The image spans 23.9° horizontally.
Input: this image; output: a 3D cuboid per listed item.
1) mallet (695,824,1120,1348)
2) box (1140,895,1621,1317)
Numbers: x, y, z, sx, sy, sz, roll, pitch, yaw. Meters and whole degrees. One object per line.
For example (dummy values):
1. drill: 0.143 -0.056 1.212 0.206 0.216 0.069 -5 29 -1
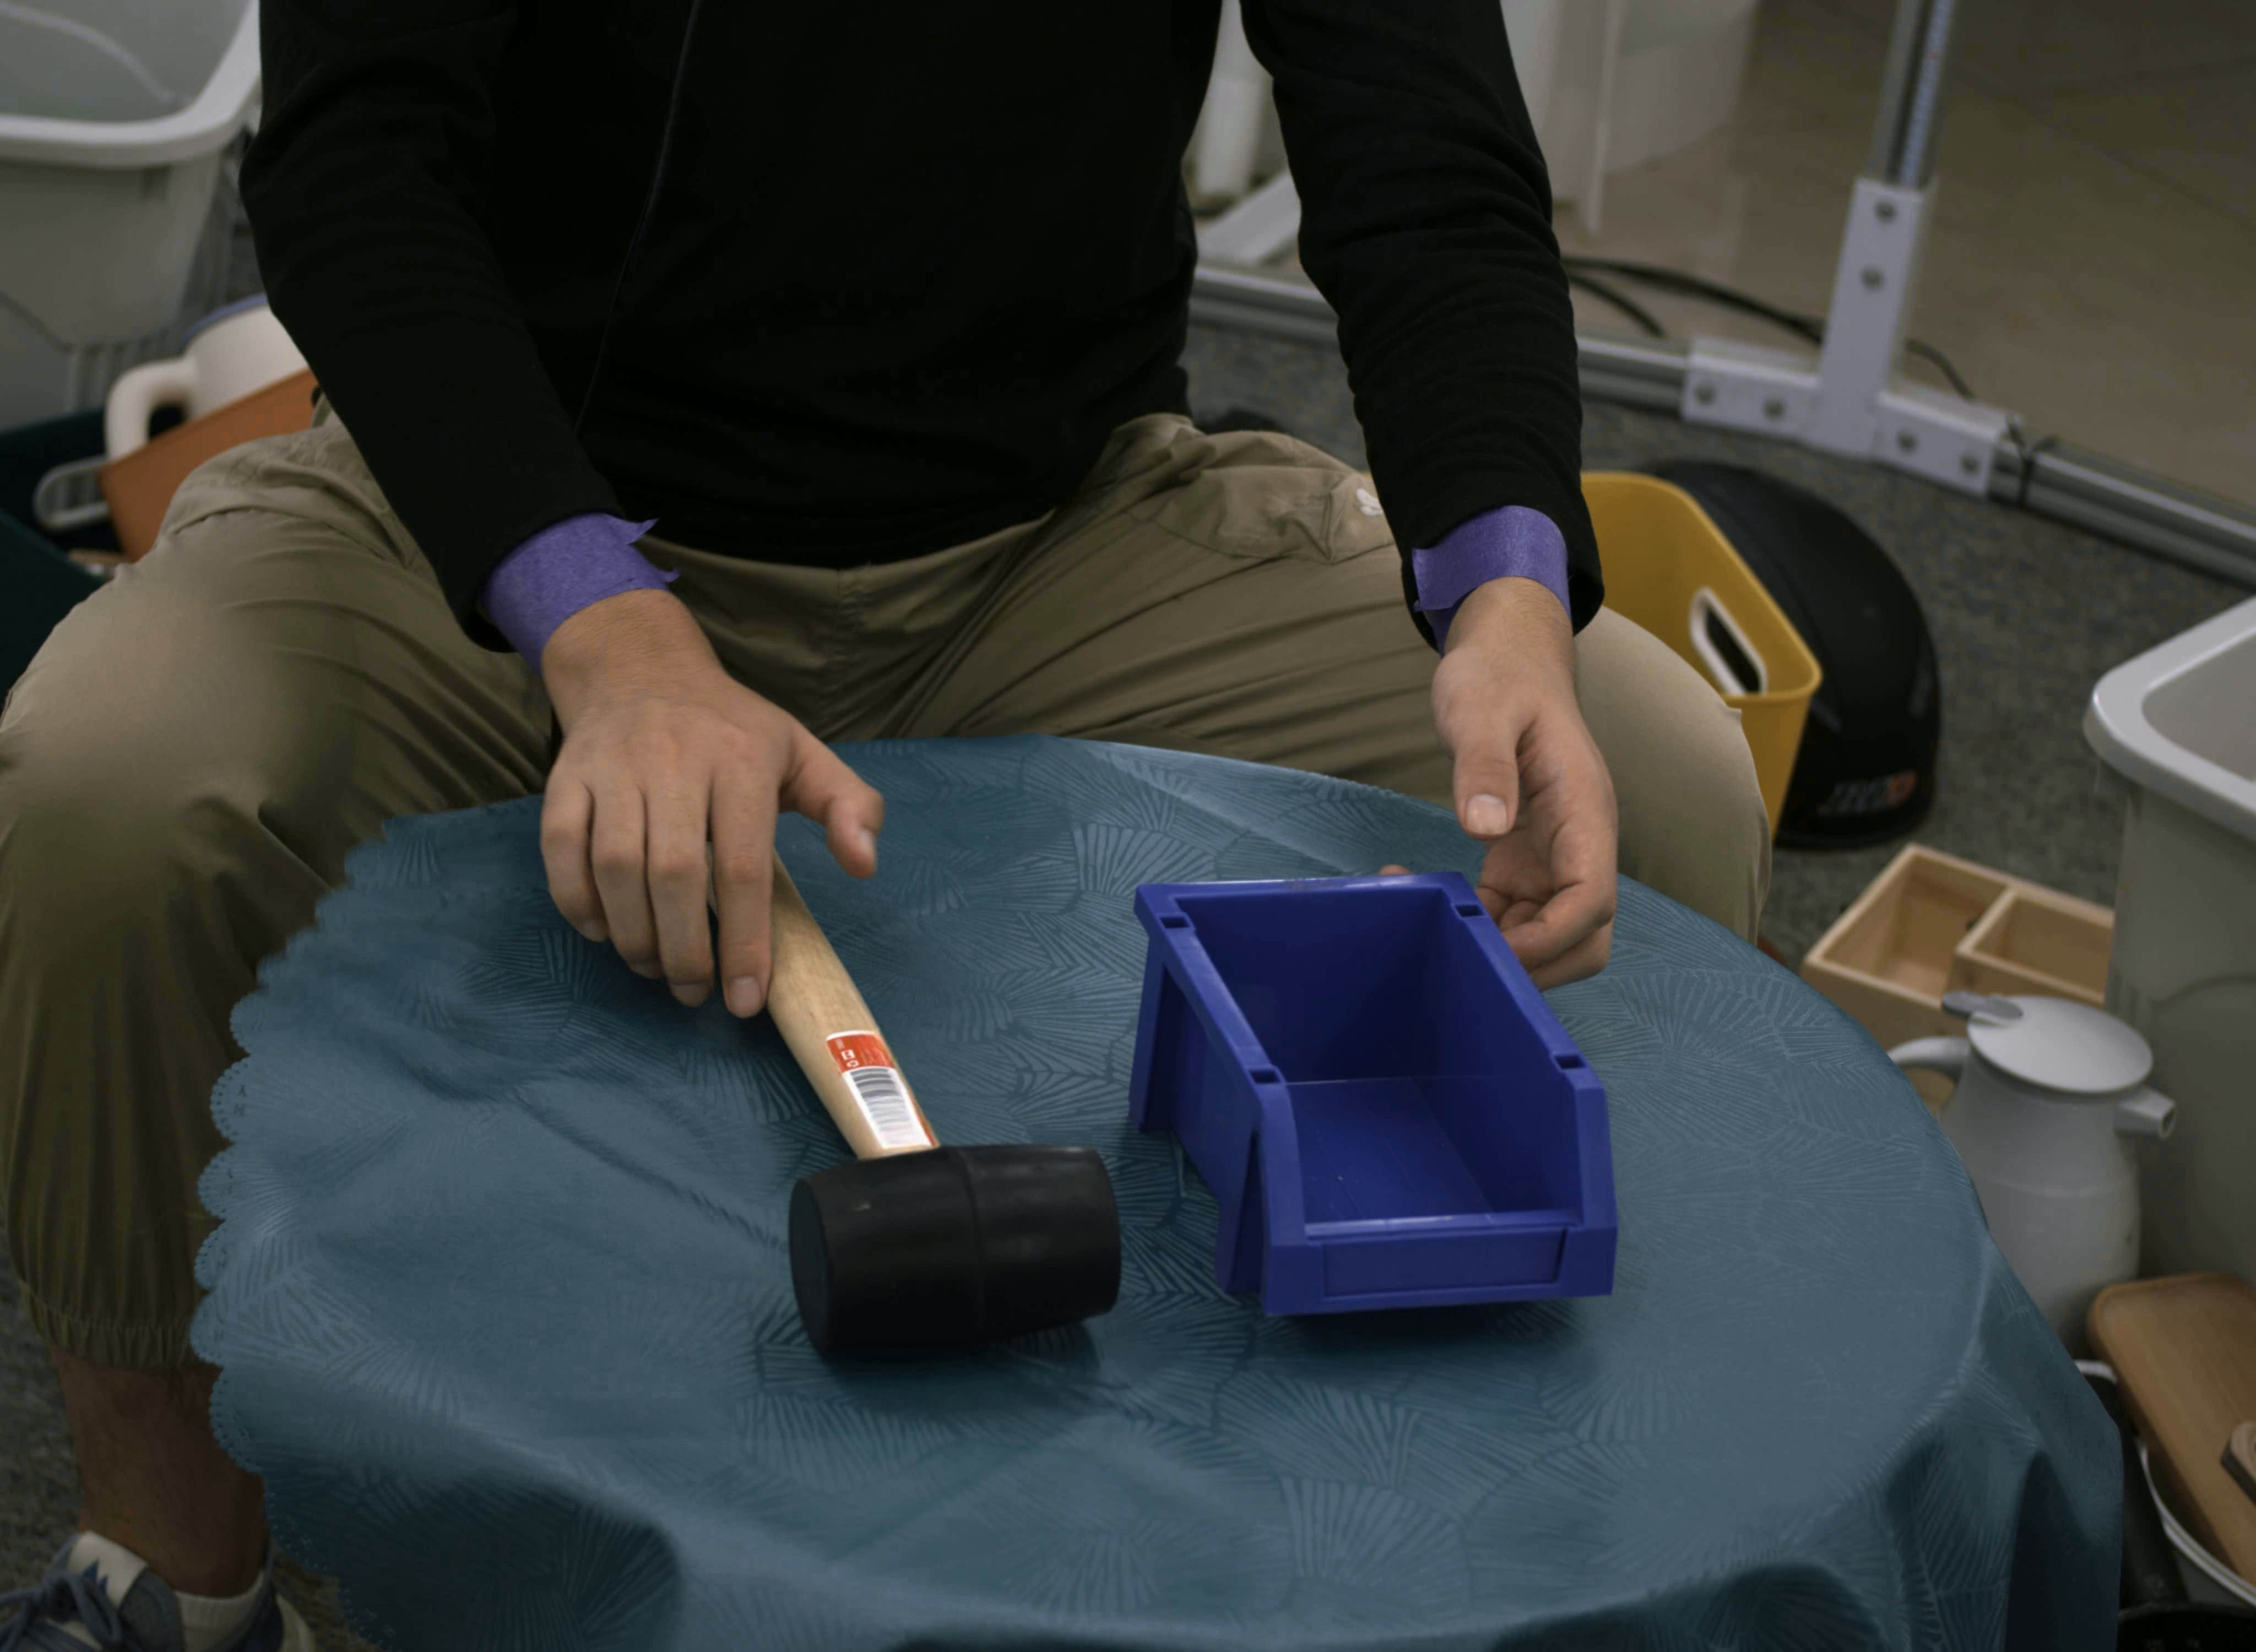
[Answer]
1. mallet: -0.096 0.072 1.819 0.101 0.064 0.342 -1 27 -17
2. box: 0.084 0.098 1.784 0.124 0.081 0.181 -1 24 -15
